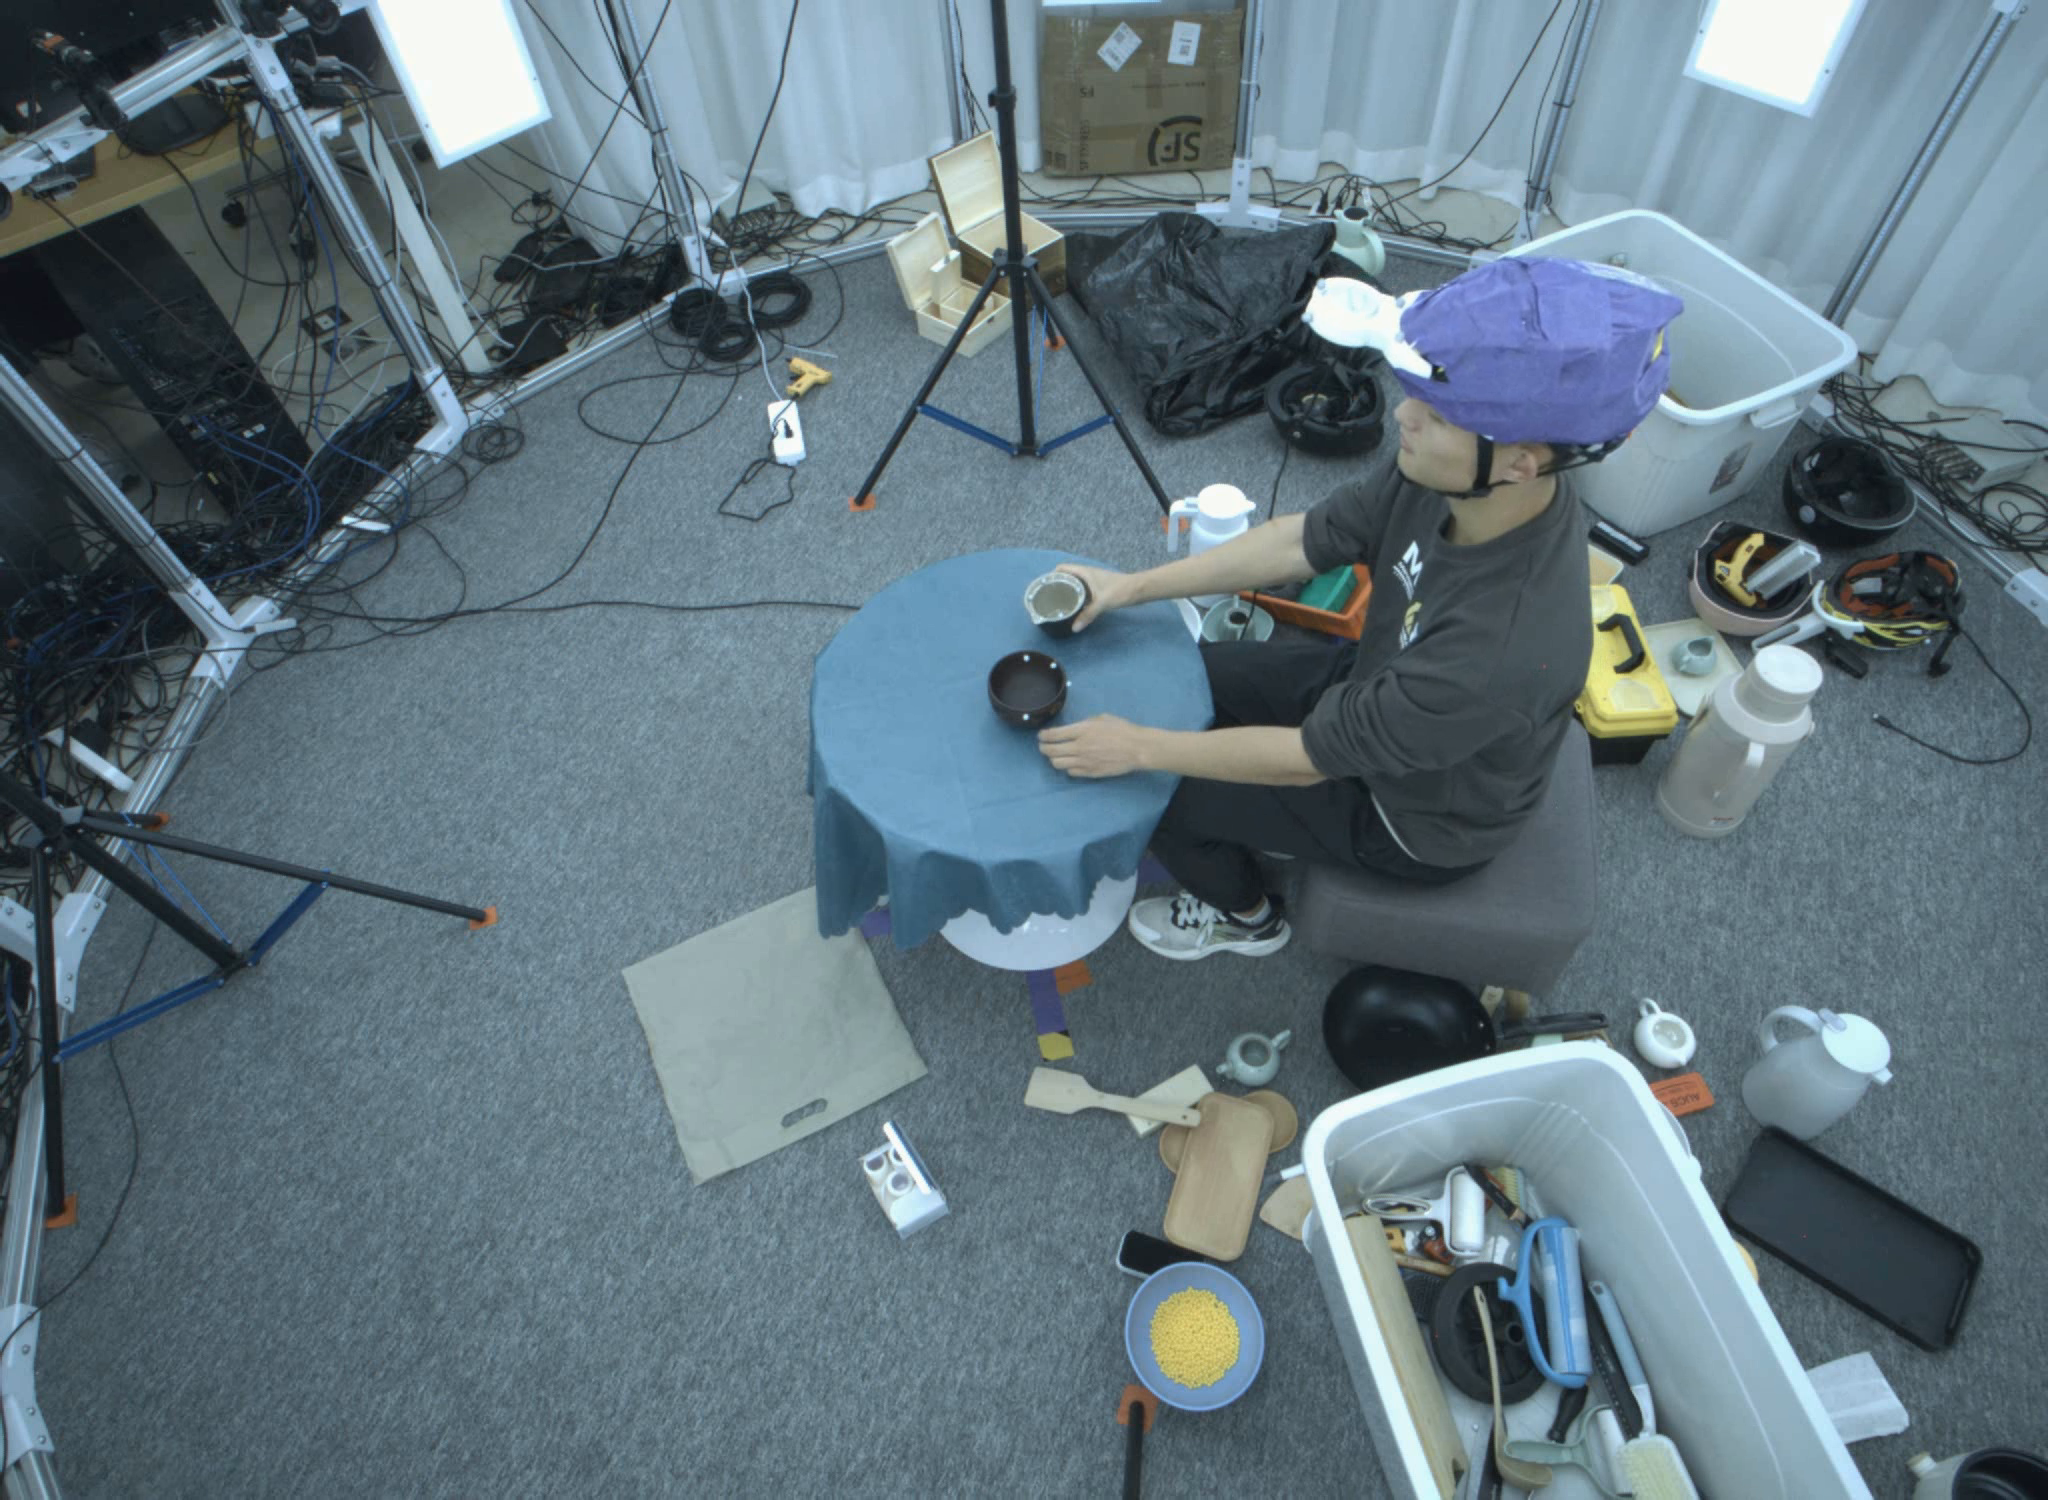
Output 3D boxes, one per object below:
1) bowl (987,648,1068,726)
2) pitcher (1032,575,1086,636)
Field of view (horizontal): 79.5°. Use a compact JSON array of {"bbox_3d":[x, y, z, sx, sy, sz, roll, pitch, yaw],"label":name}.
[{"bbox_3d":[0.006,-0.084,1.801,0.118,0.071,0.117,-2,53,3],"label":"bowl"},{"bbox_3d":[0.052,-0.213,1.881,0.082,0.072,0.096,33,68,24],"label":"pitcher"}]
